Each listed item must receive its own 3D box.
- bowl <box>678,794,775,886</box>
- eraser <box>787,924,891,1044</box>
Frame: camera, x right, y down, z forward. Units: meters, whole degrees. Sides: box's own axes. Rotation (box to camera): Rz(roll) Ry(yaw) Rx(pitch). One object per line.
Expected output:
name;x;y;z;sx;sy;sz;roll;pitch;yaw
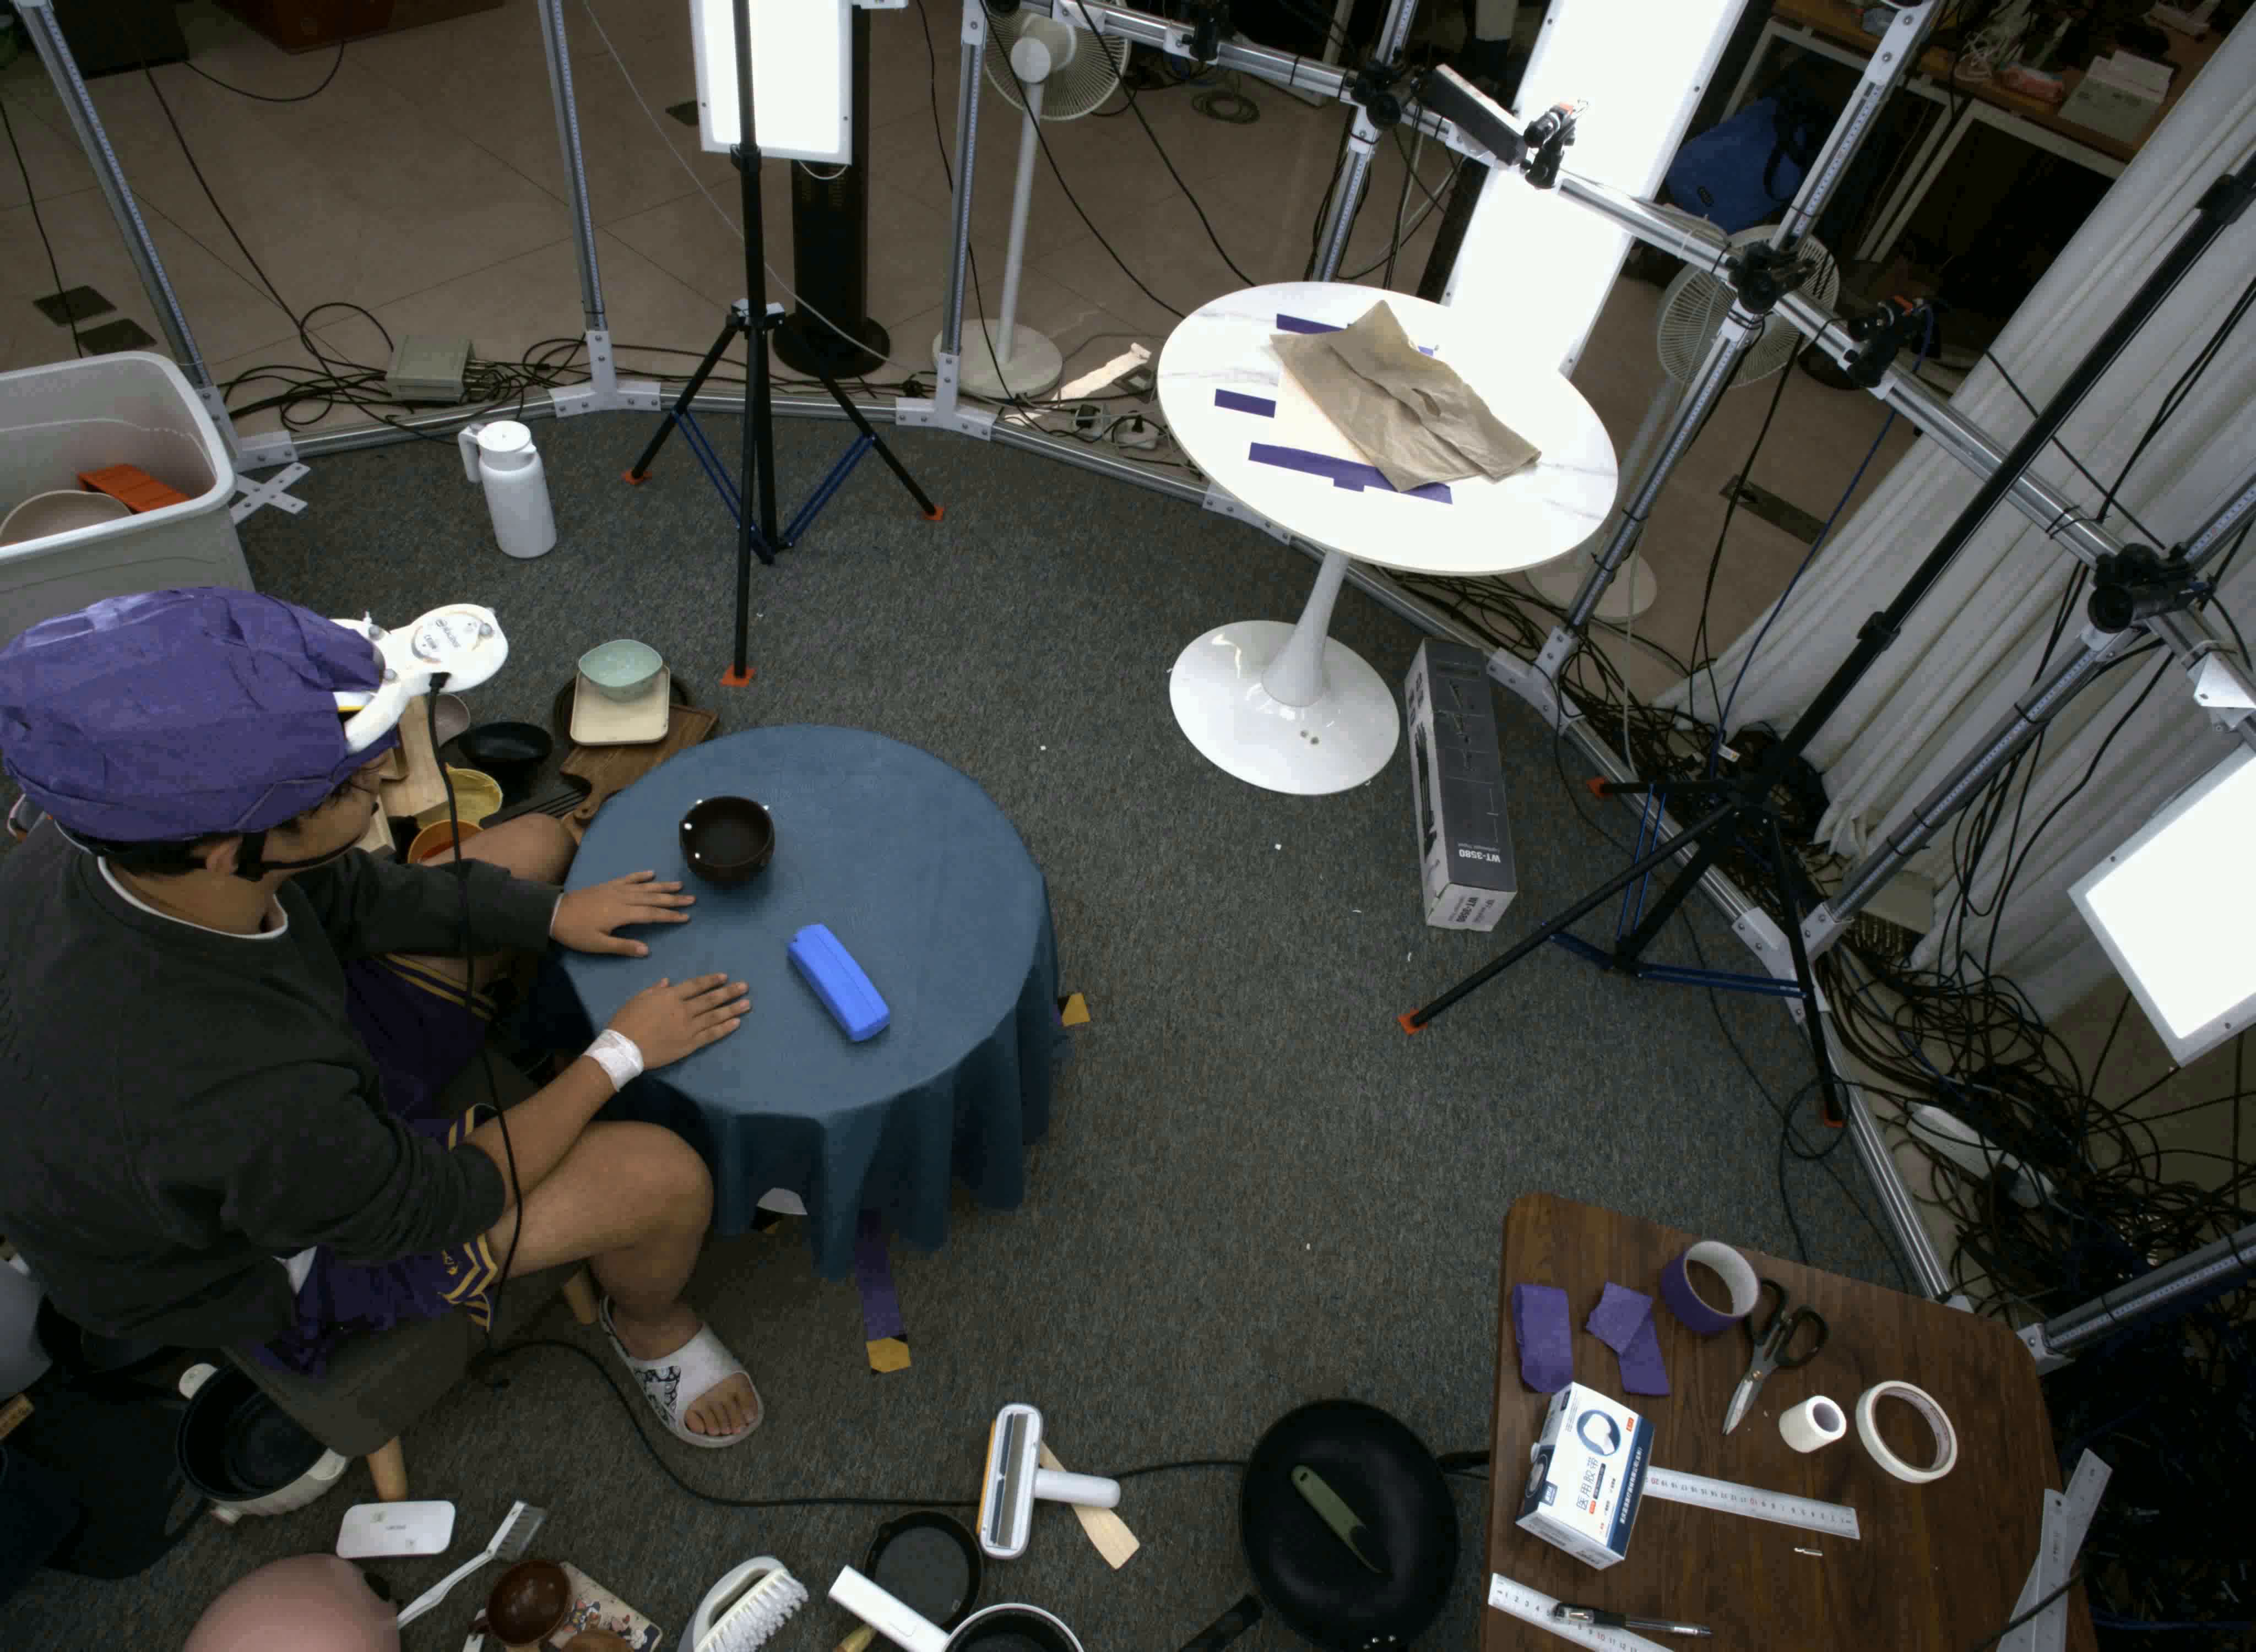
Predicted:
bowl;-0.508;0.024;1.642;0.118;0.071;0.116;7;53;-8
eraser;-0.352;0.185;1.580;0.054;0.048;0.158;-30;66;-32
